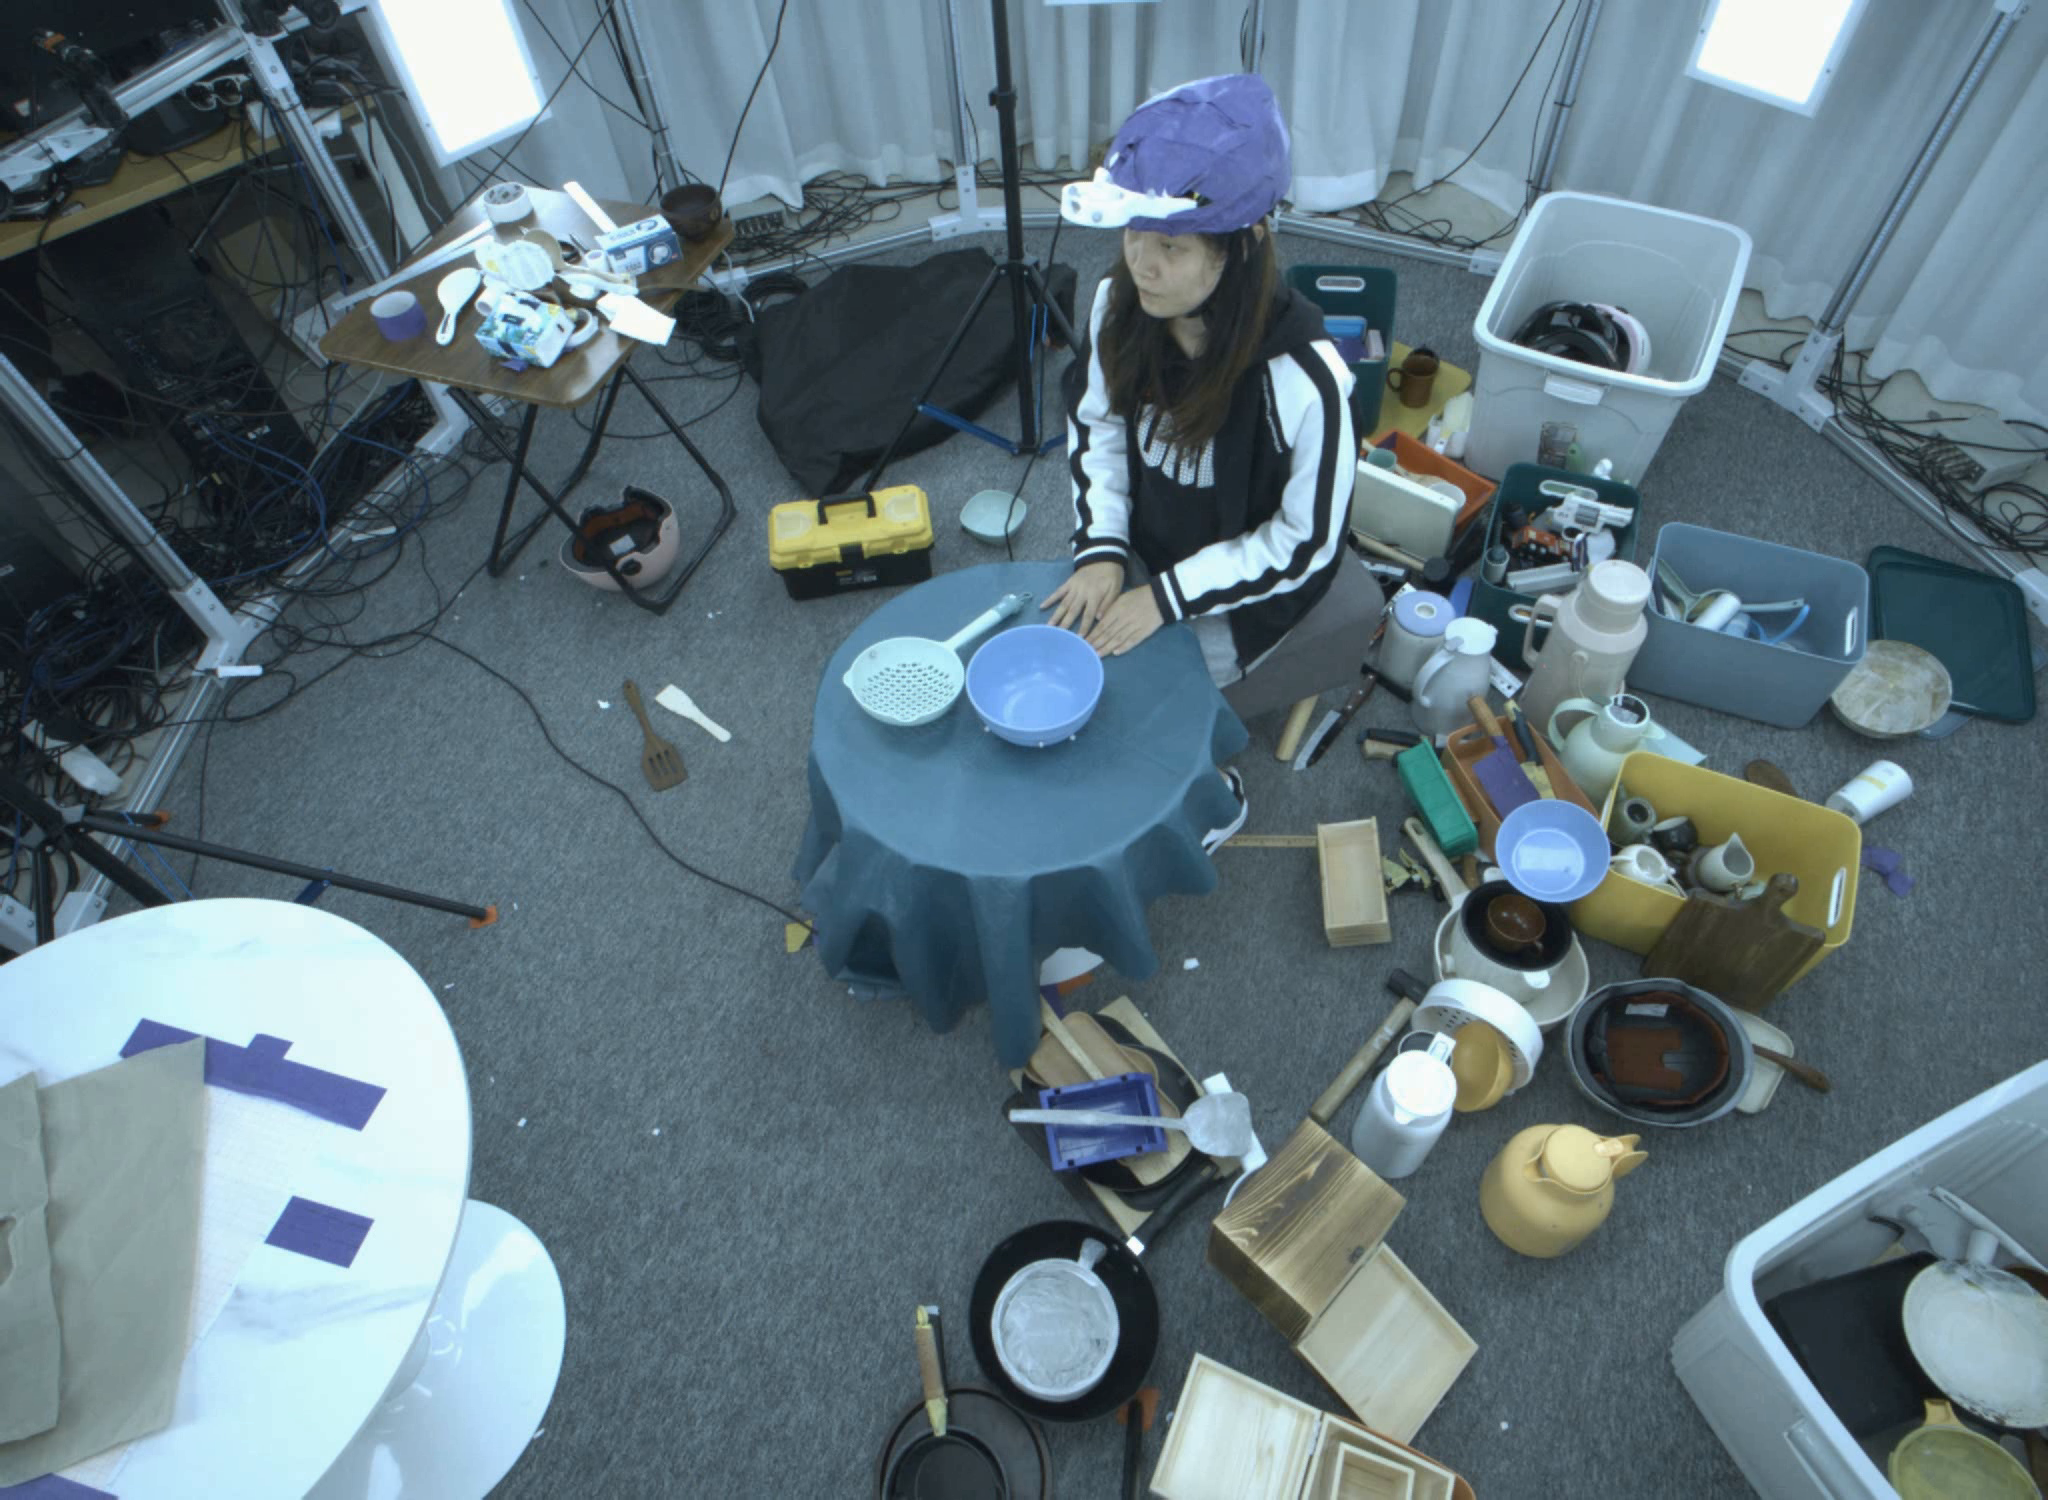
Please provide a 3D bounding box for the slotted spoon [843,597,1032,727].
[{"bbox_3d":[-0.110,-0.151,1.863,0.166,0.076,0.361,34,61,22],"label":"slotted spoon"}]

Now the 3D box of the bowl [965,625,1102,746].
[{"bbox_3d":[0.016,-0.078,1.784,0.196,0.096,0.194,-1,54,2],"label":"bowl"}]
